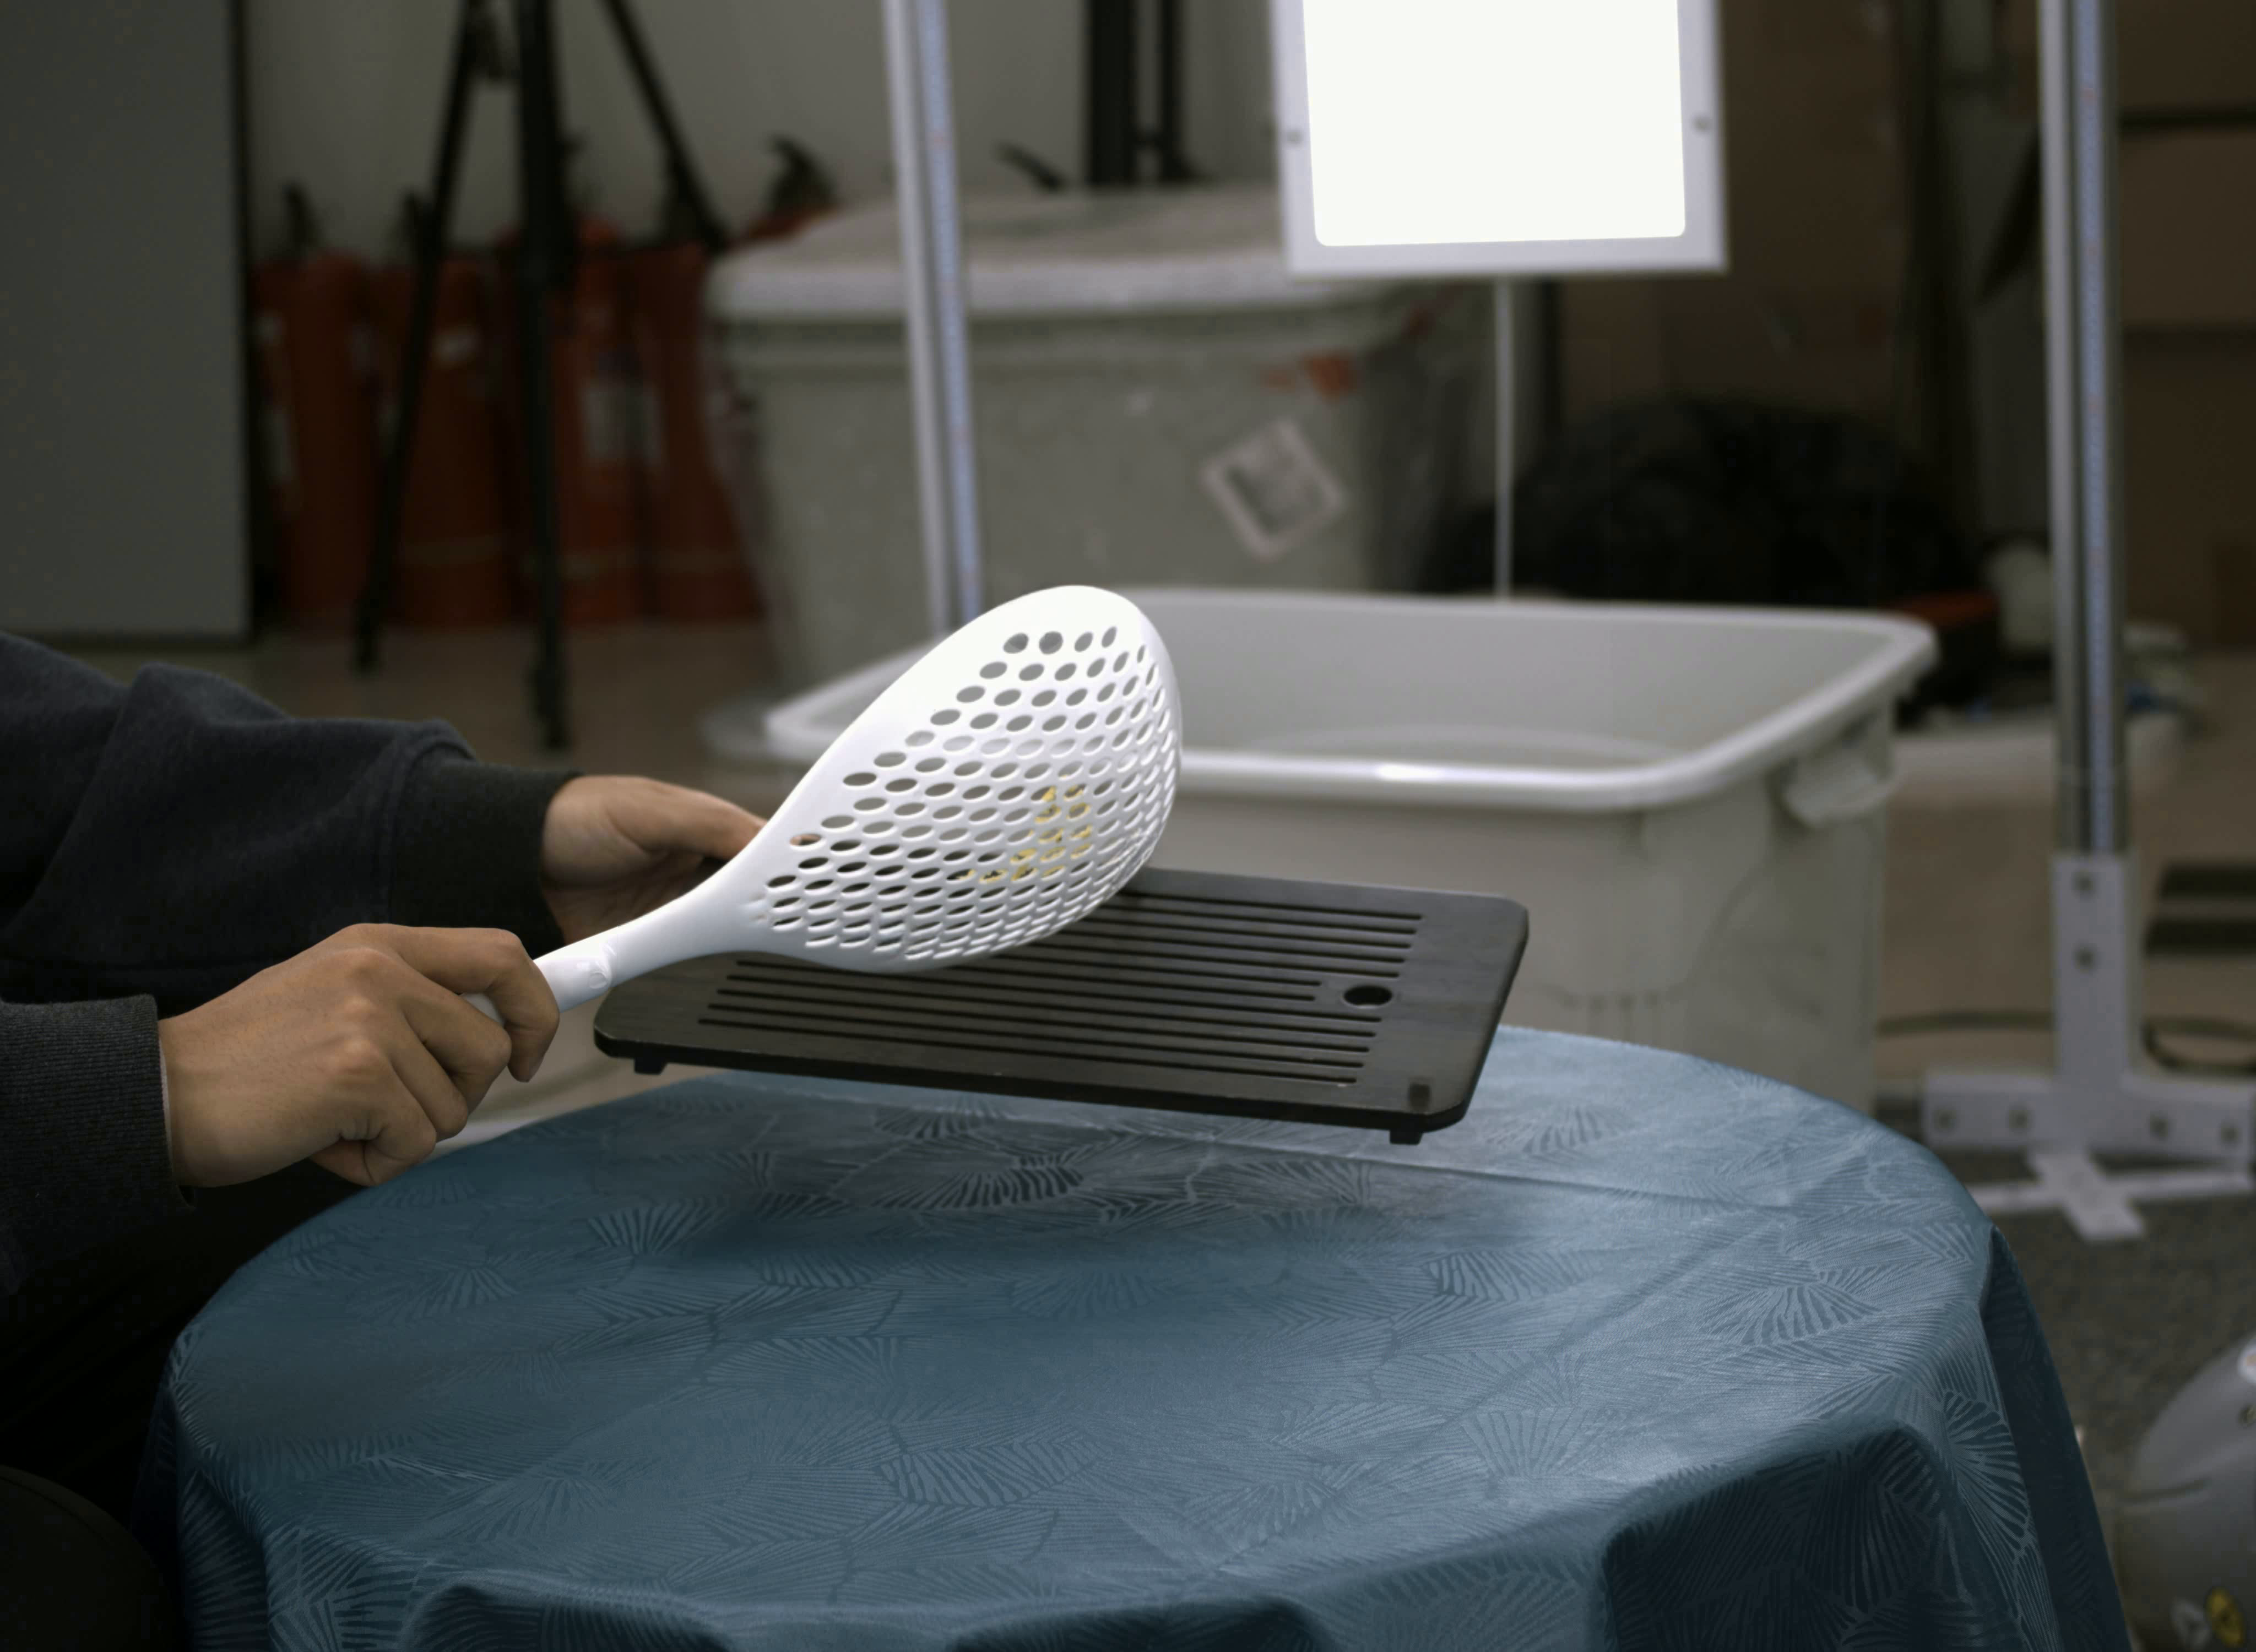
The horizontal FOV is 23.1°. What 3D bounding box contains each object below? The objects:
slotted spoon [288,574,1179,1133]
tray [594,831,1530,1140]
[{"bbox_3d":[-0.121,0.027,1.781,0.341,0.137,0.051,-21,39,-21],"label":"slotted spoon"},{"bbox_3d":[-0.020,0.055,1.929,0.308,0.019,0.168,4,26,14],"label":"tray"}]
